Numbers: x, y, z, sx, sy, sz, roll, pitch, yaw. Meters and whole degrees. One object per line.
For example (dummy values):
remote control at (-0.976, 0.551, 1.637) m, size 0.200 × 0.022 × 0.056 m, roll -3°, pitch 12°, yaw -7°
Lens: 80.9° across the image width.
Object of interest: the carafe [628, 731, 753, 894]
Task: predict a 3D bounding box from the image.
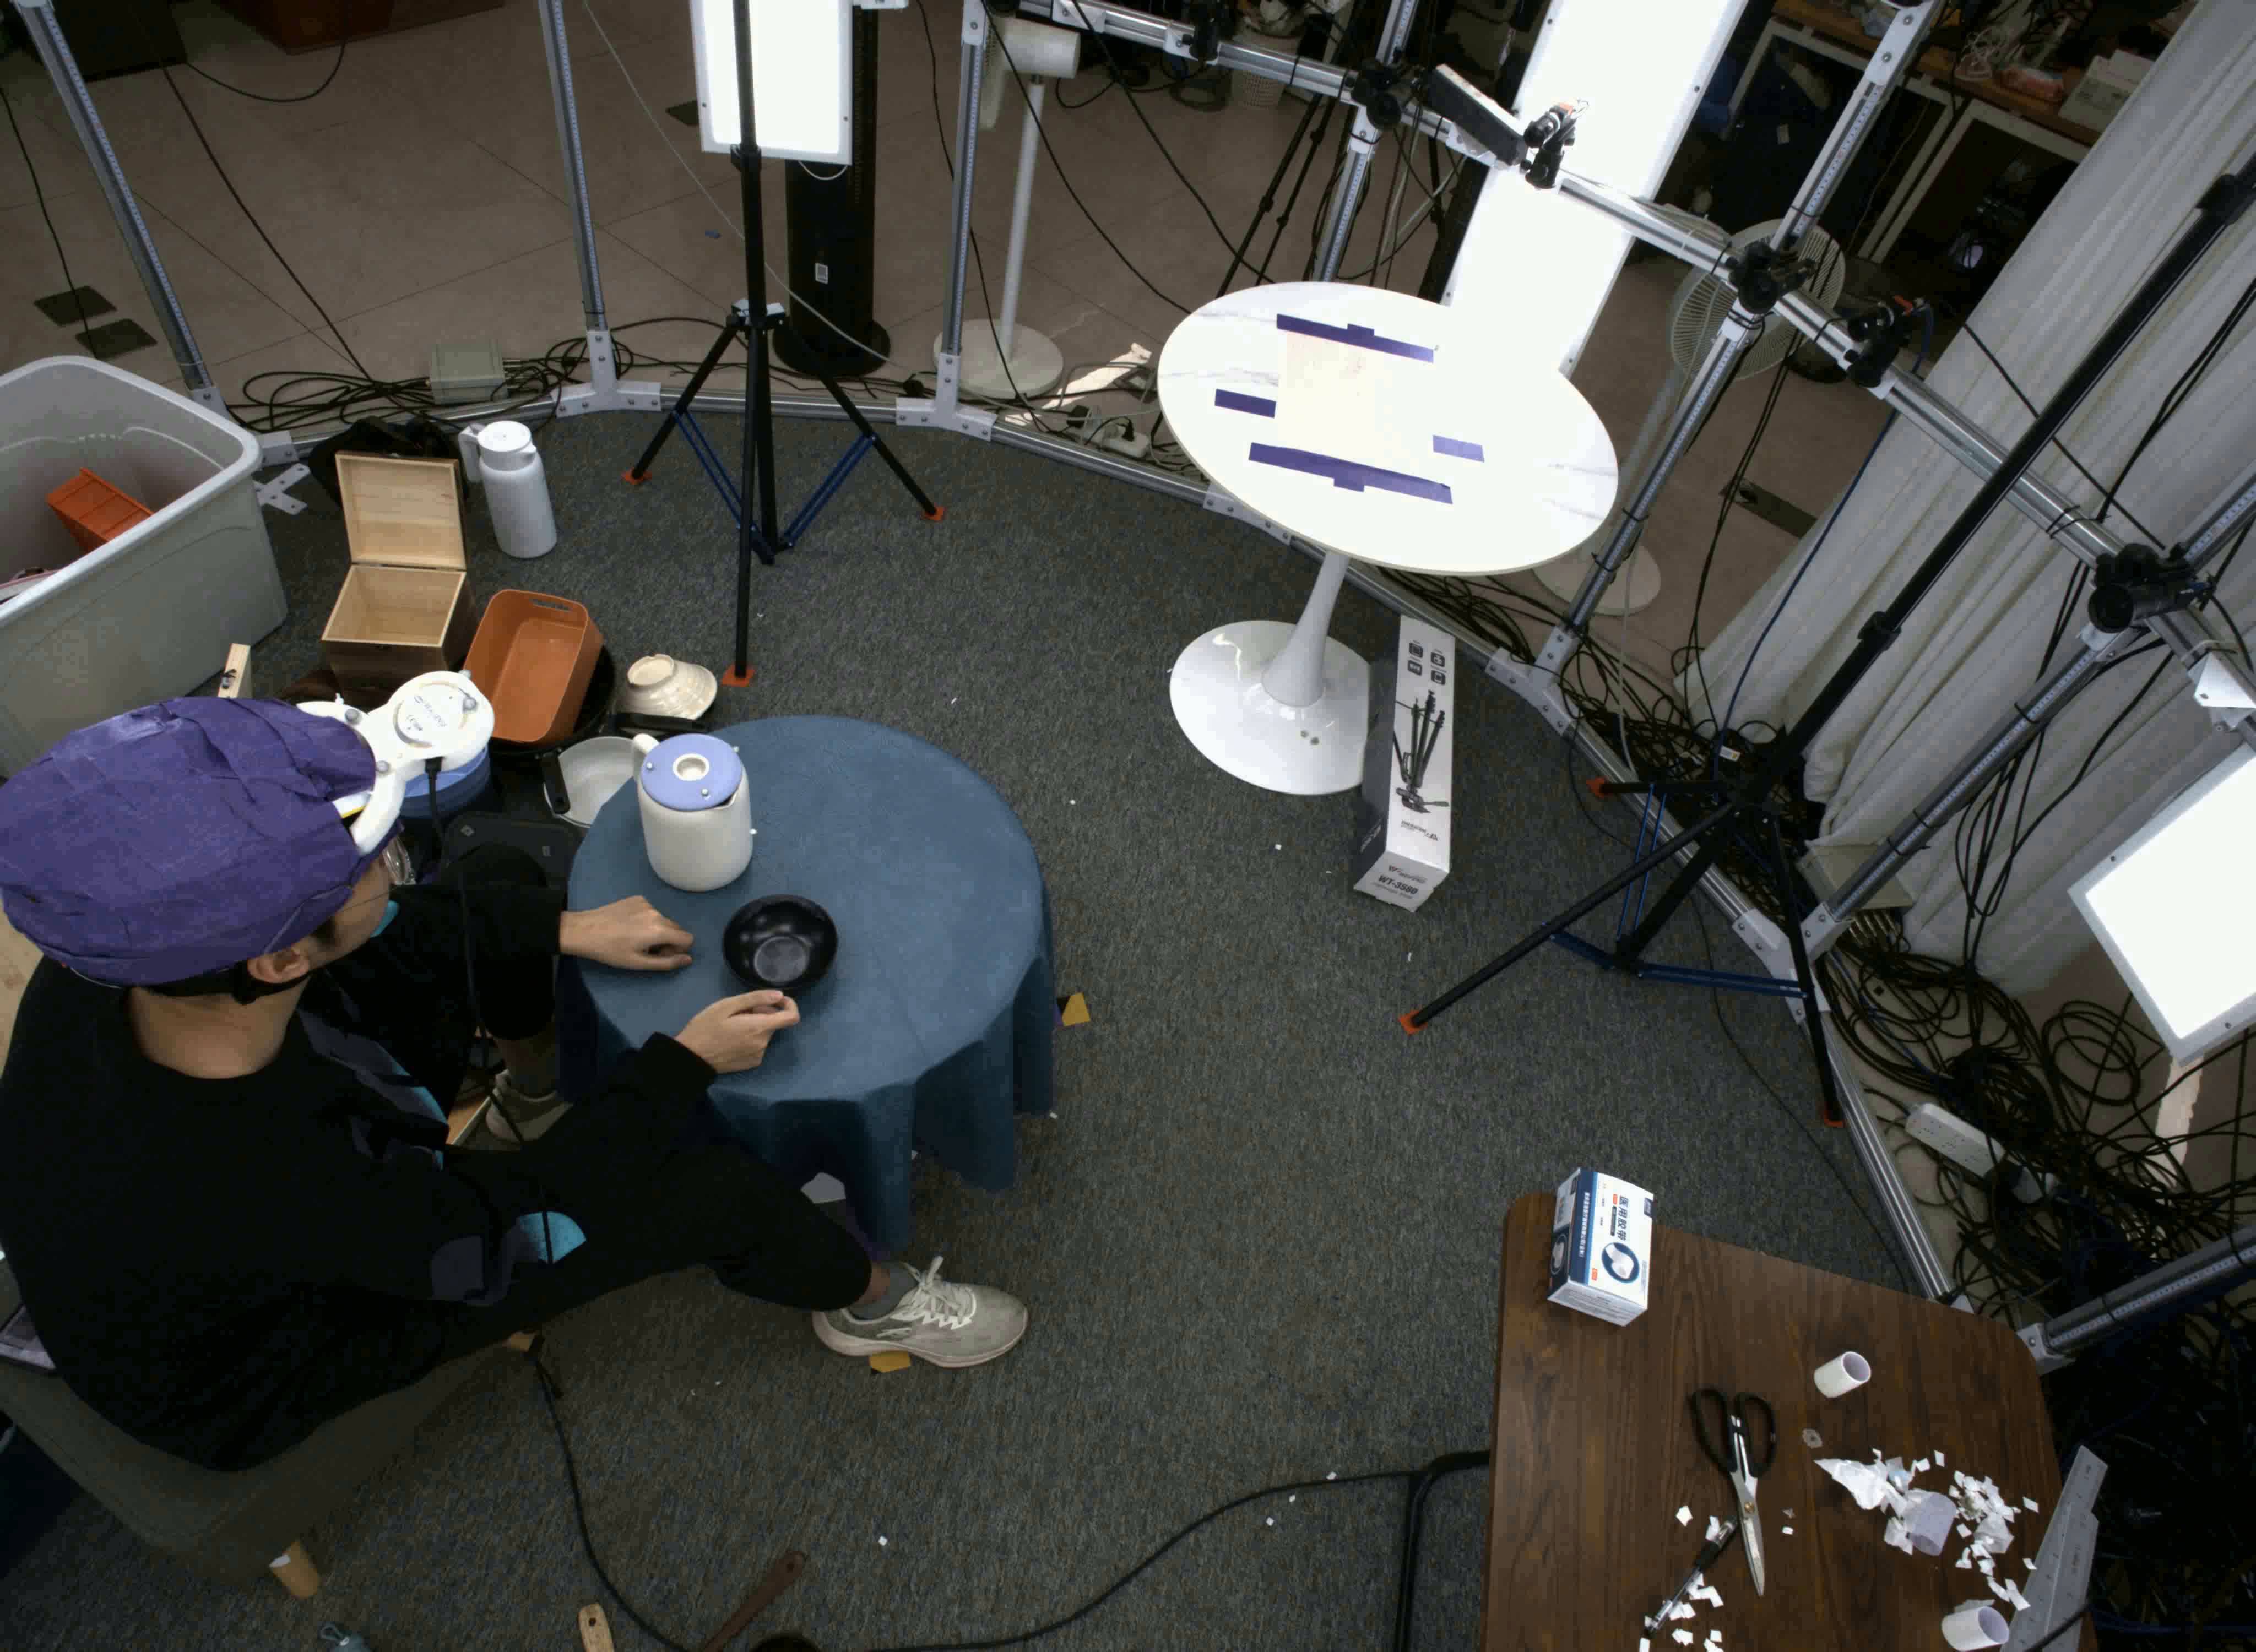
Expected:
carafe at (-0.557, -0.031, 1.607) m, size 0.187 × 0.187 × 0.132 m, roll 34°, pitch 52°, yaw 16°

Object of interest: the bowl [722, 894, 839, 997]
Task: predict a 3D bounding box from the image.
bowl at (-0.423, 0.152, 1.586) m, size 0.139 × 0.051 × 0.137 m, roll 7°, pitch 54°, yaw -8°
